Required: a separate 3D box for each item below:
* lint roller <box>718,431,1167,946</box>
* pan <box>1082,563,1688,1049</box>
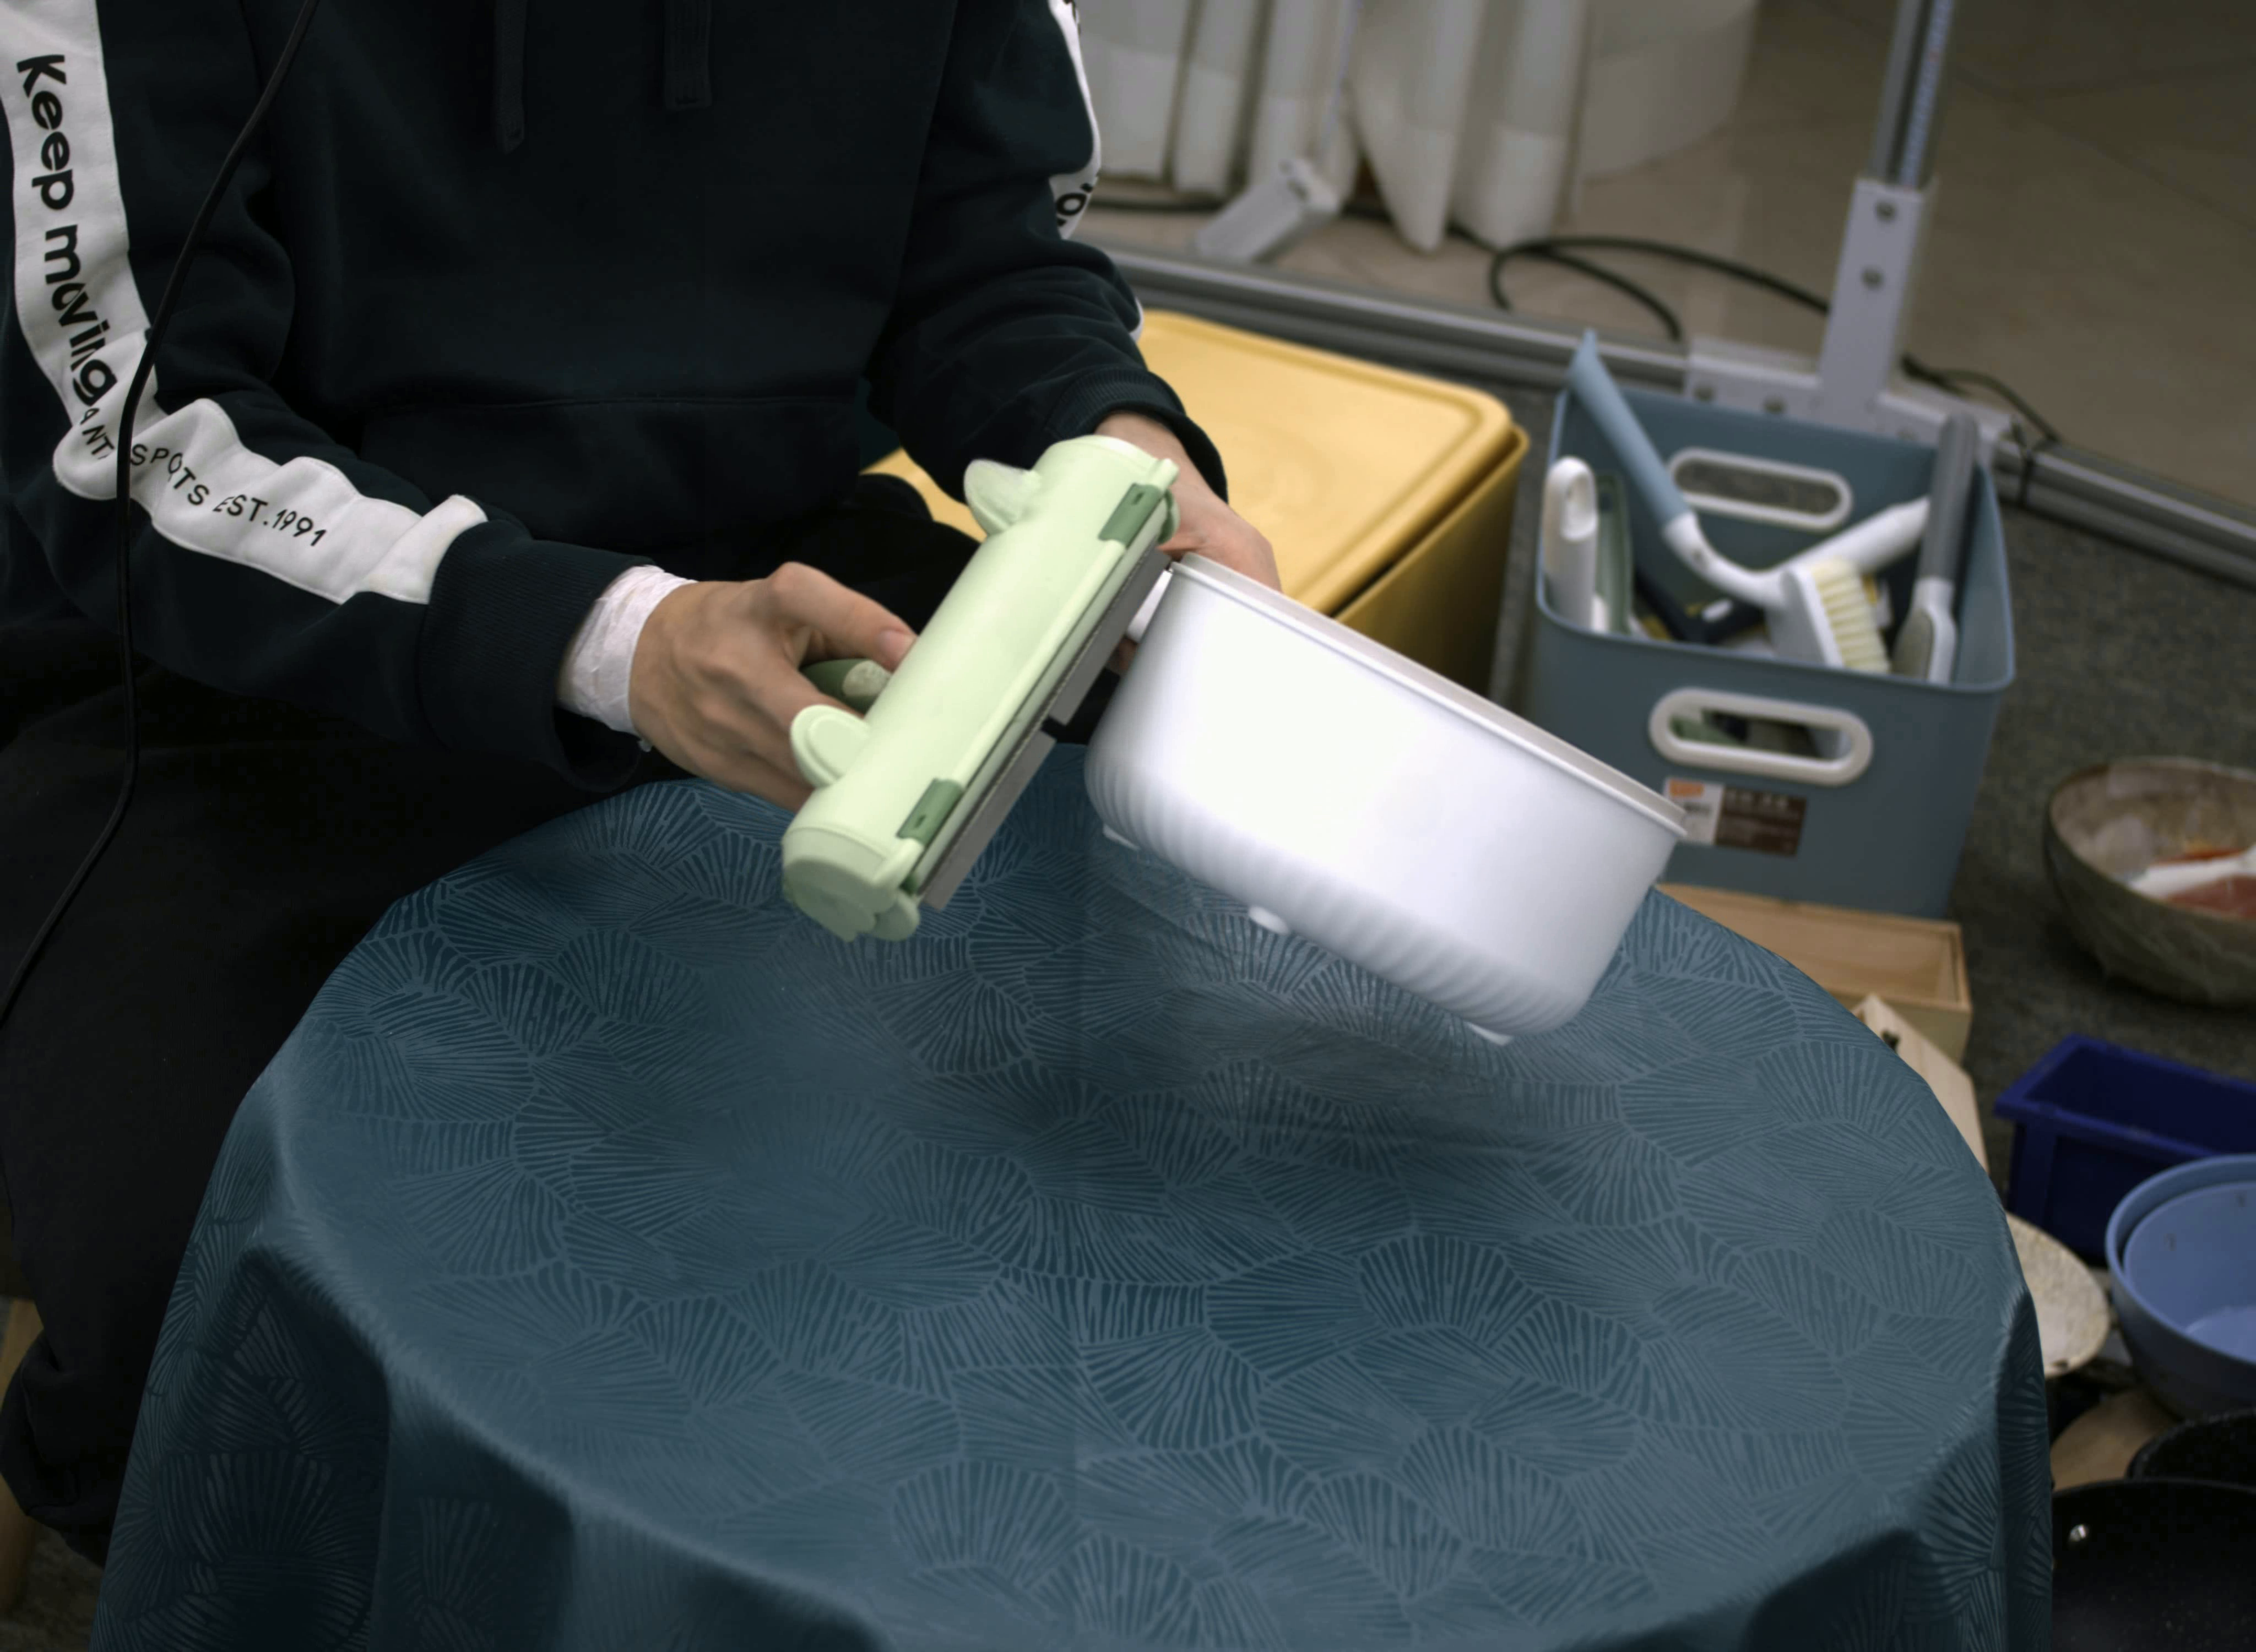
[{"bbox_3d":[-0.094,-0.054,1.826,0.184,0.081,0.199,2,50,45],"label":"lint roller"},{"bbox_3d":[0.046,-0.022,1.896,0.199,0.102,0.357,25,1,-32],"label":"pan"}]
